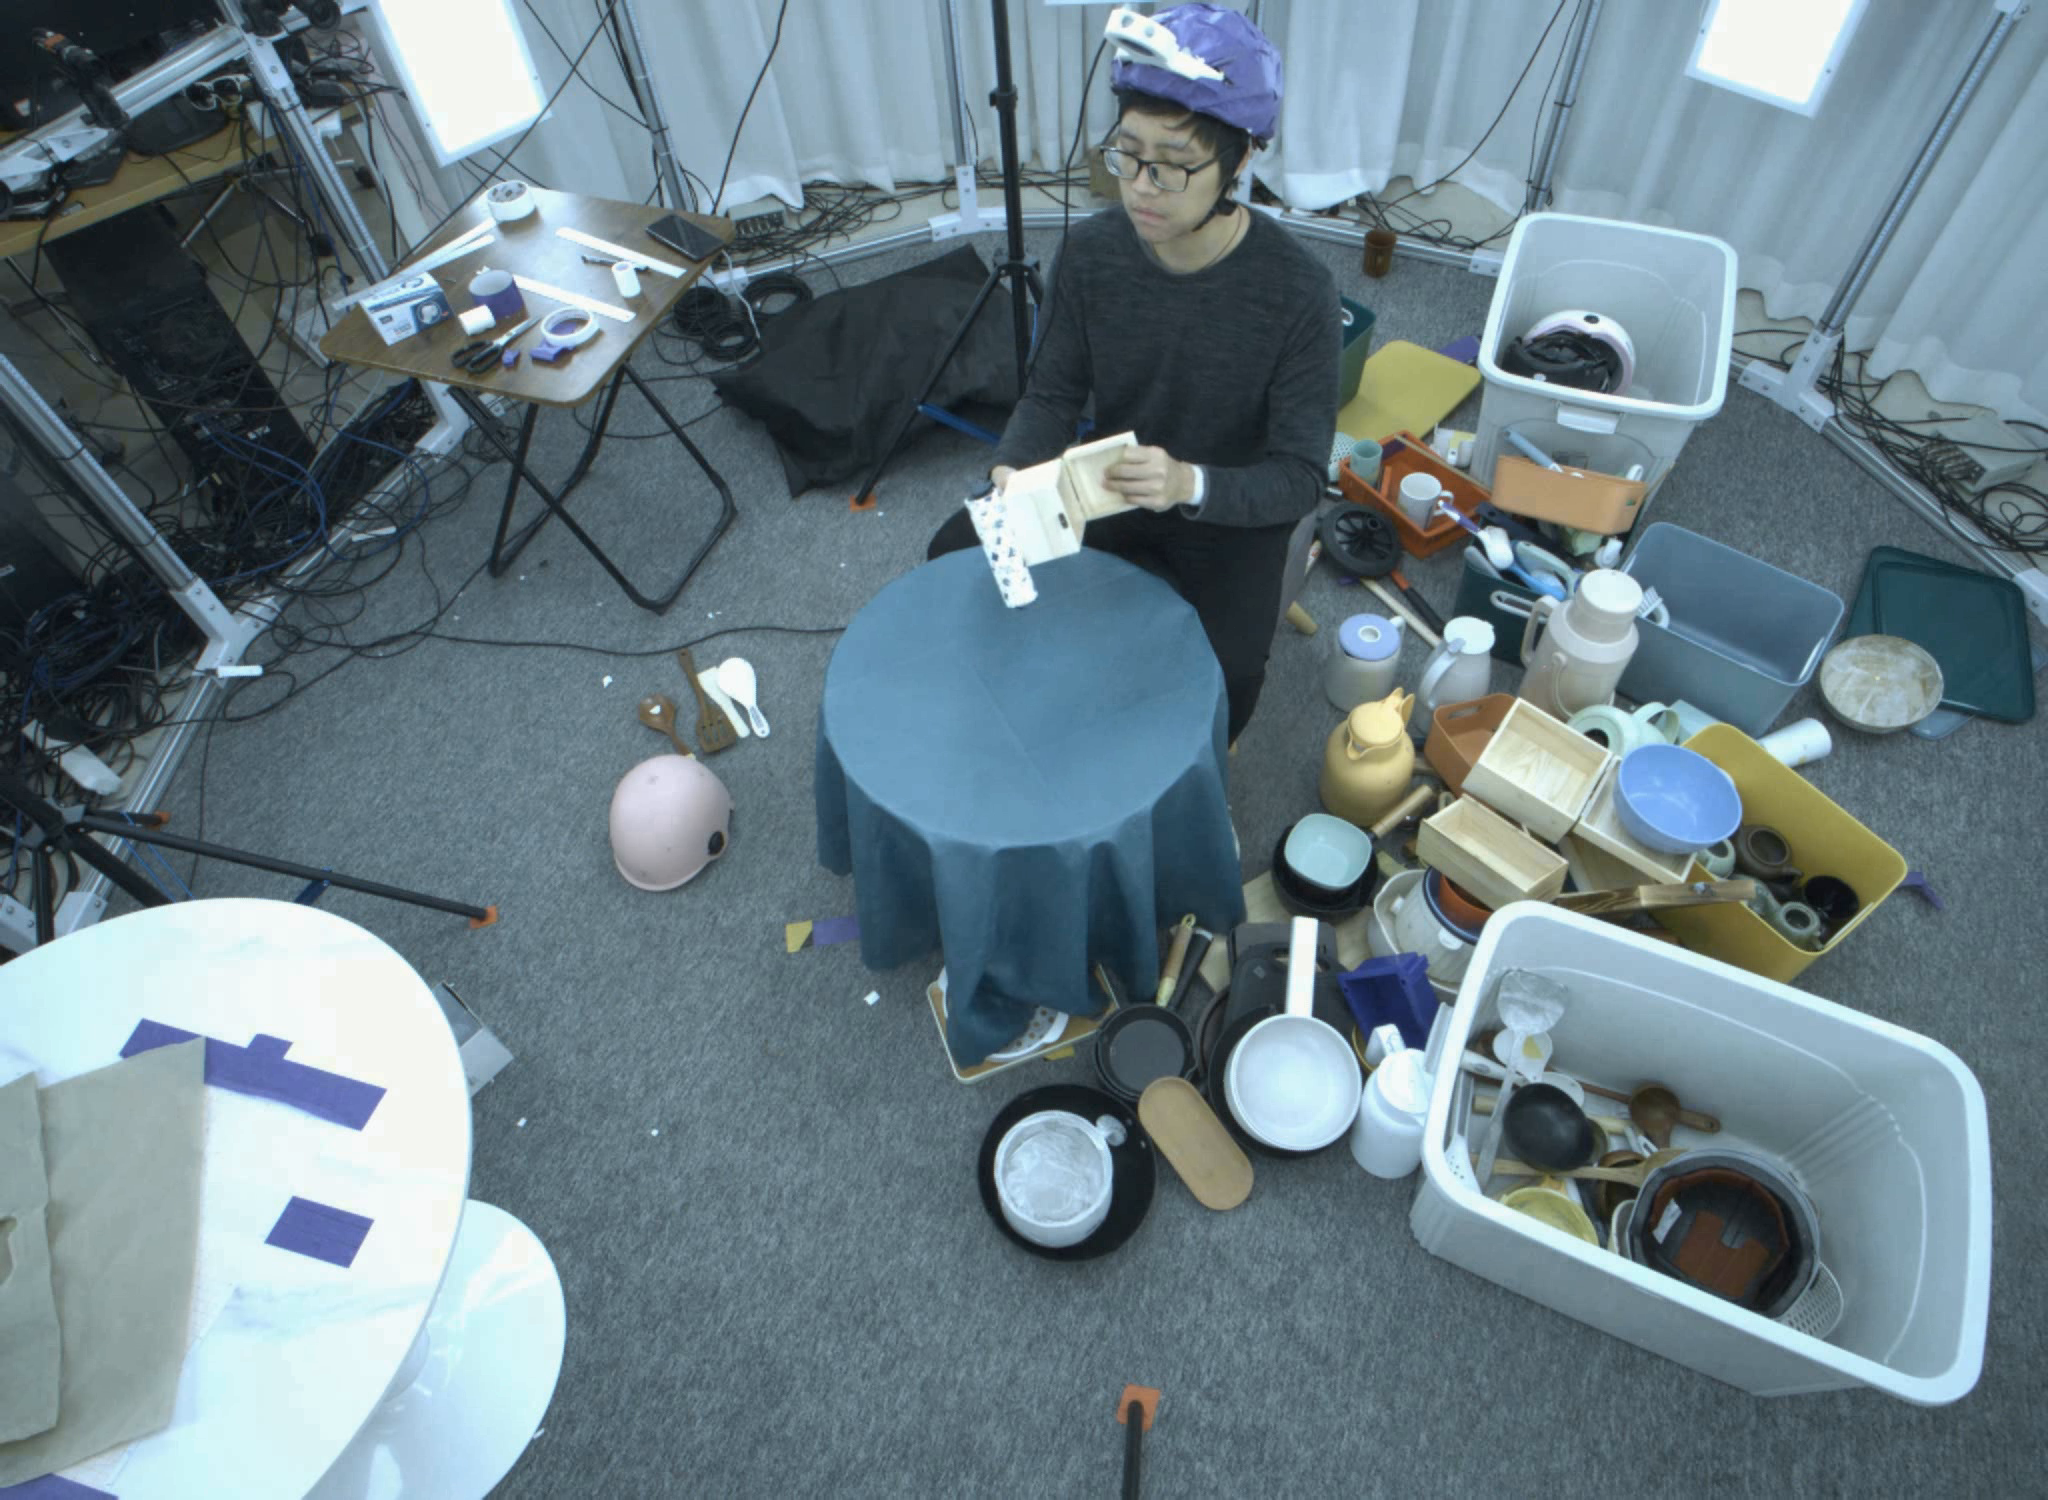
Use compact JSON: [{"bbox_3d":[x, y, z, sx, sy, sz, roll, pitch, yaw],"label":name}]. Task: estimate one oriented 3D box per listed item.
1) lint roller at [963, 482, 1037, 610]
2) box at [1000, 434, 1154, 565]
[{"bbox_3d":[-0.018,-0.322,1.747,0.050,0.179,0.246,-15,27,16],"label":"lint roller"},{"bbox_3d":[0.076,-0.344,1.673,0.183,0.104,0.133,-13,32,15],"label":"box"}]
